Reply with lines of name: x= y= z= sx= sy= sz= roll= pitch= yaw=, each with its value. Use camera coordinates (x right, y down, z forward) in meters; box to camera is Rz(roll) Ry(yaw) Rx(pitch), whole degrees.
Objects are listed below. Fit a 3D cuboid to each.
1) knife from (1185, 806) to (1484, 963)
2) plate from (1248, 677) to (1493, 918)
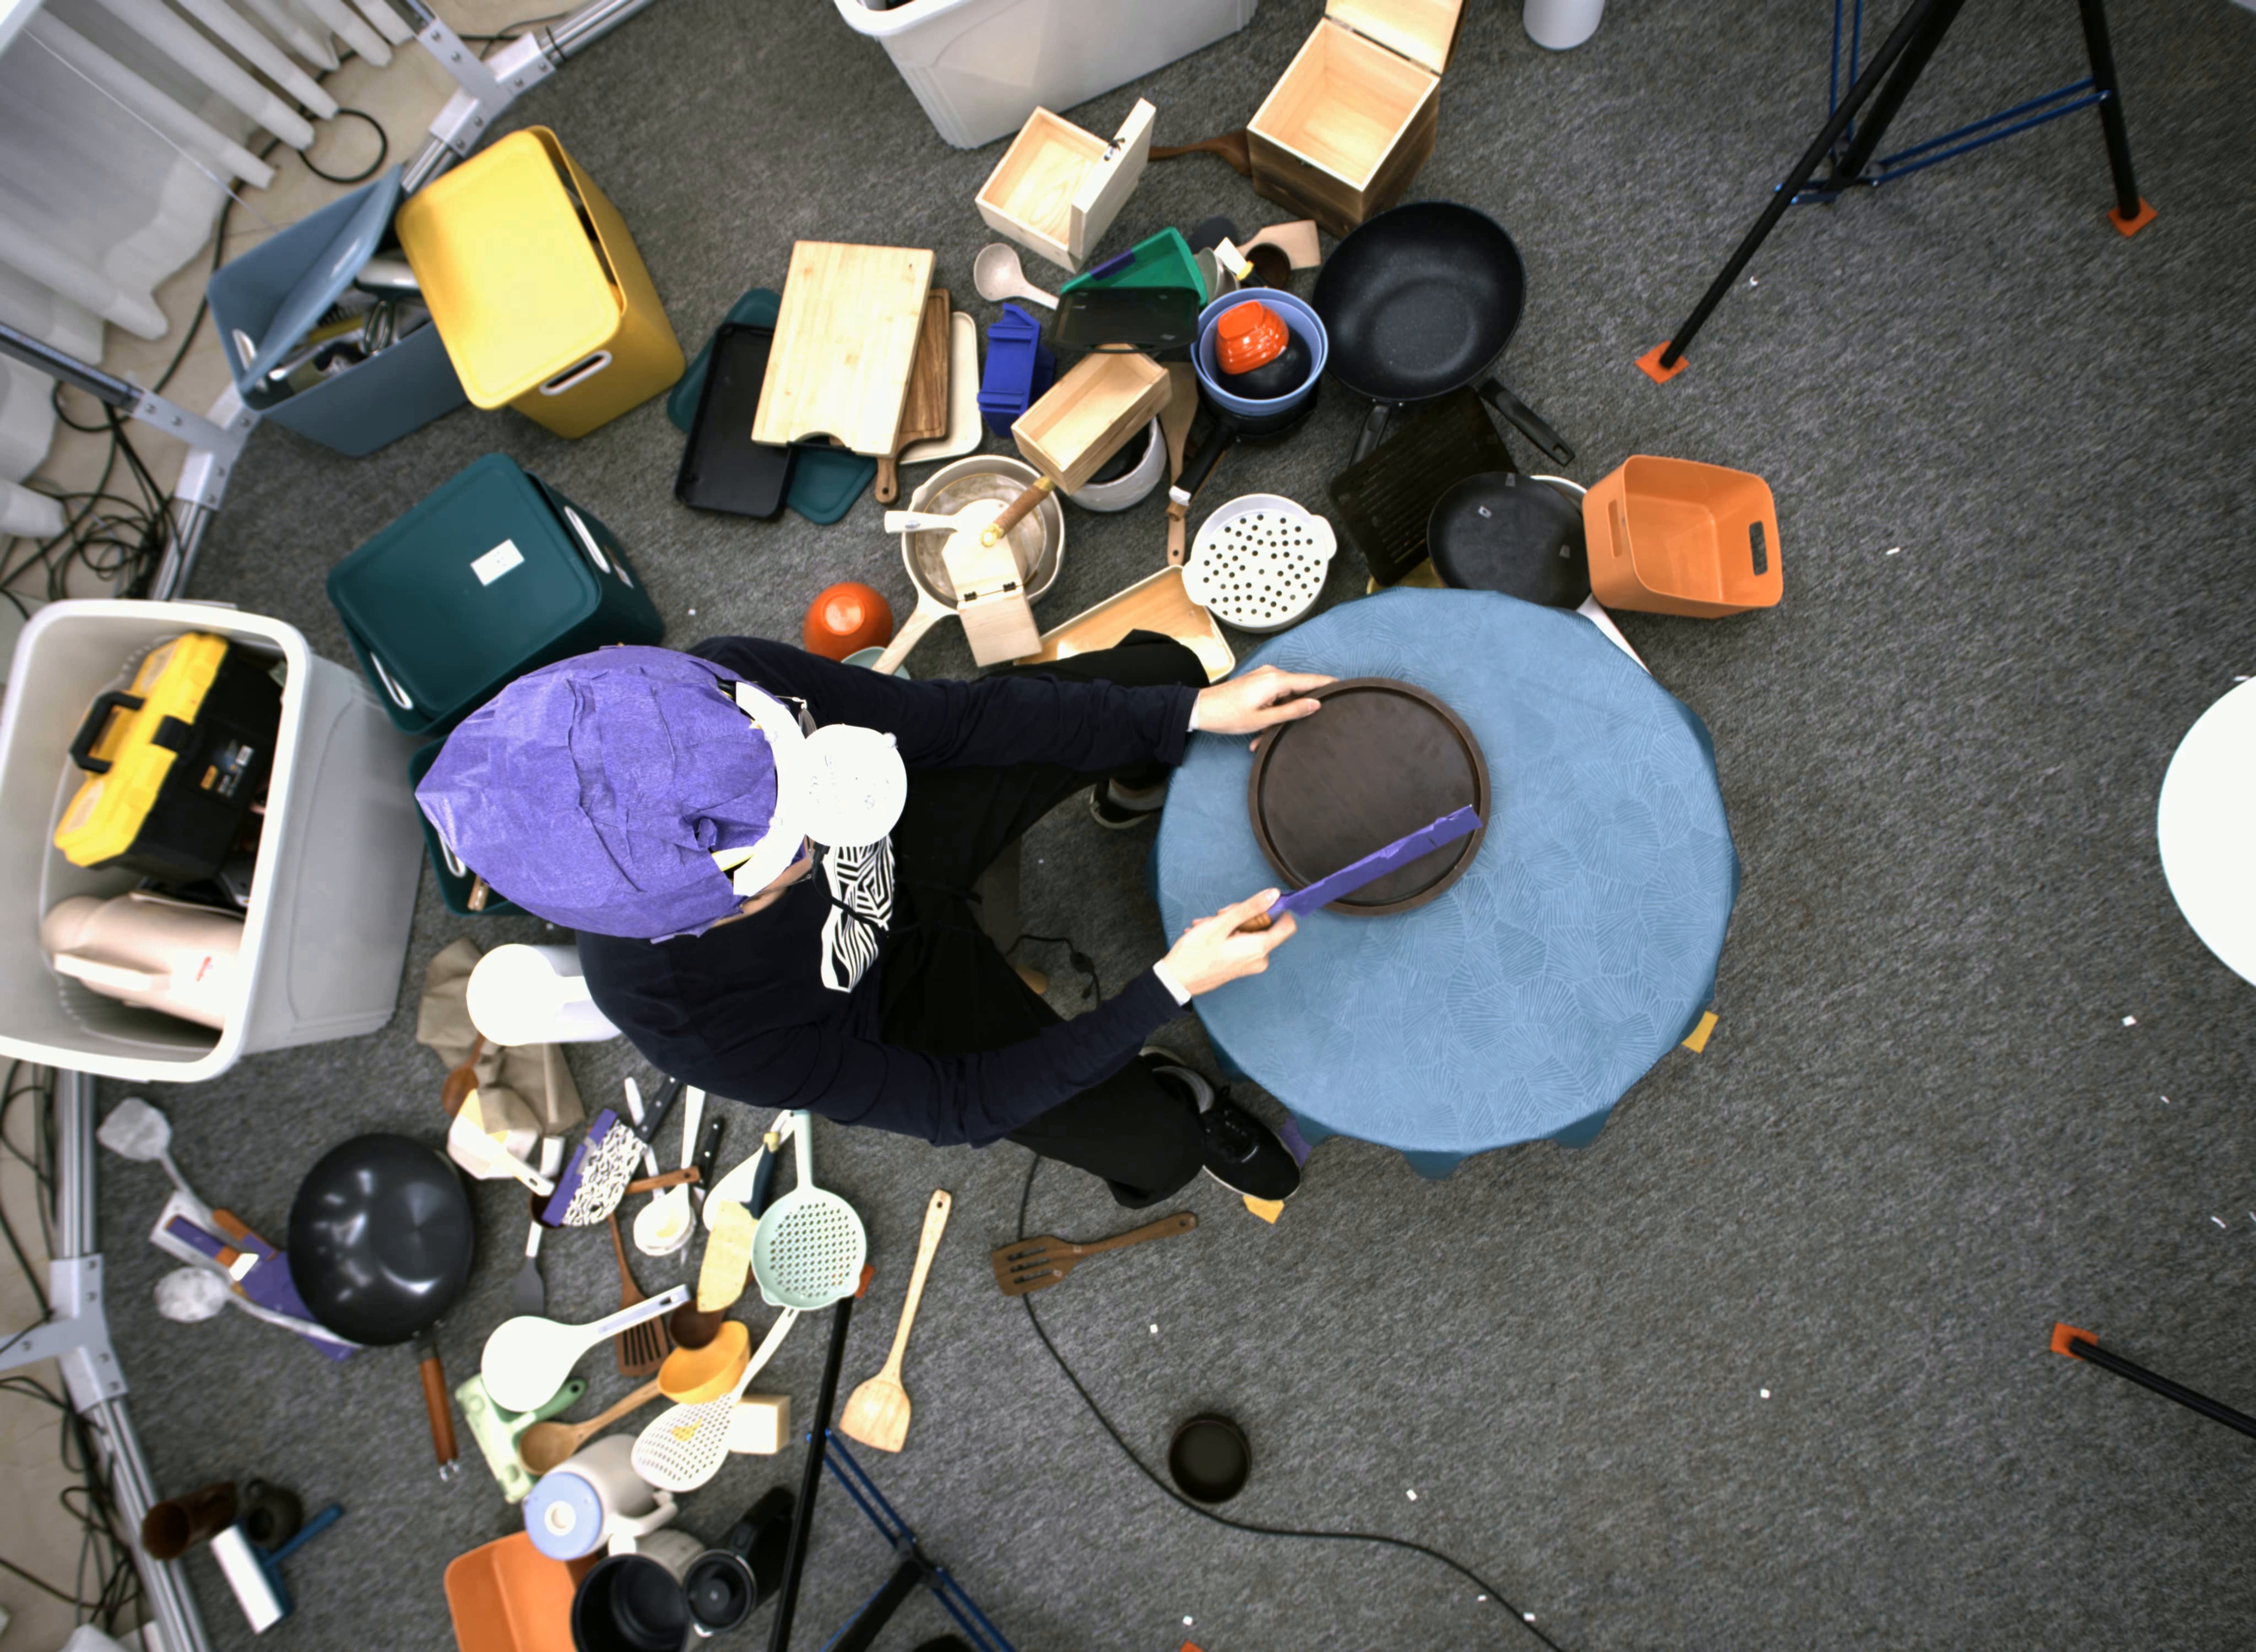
knife: x=0.210 y=0.063 z=1.379 sx=0.318 sy=0.104 sz=0.032 roll=-27 pitch=68 yaw=16
plate: x=0.253 y=-0.031 z=1.450 sx=0.255 sy=0.029 sz=0.254 roll=0 pitch=90 yaw=8
